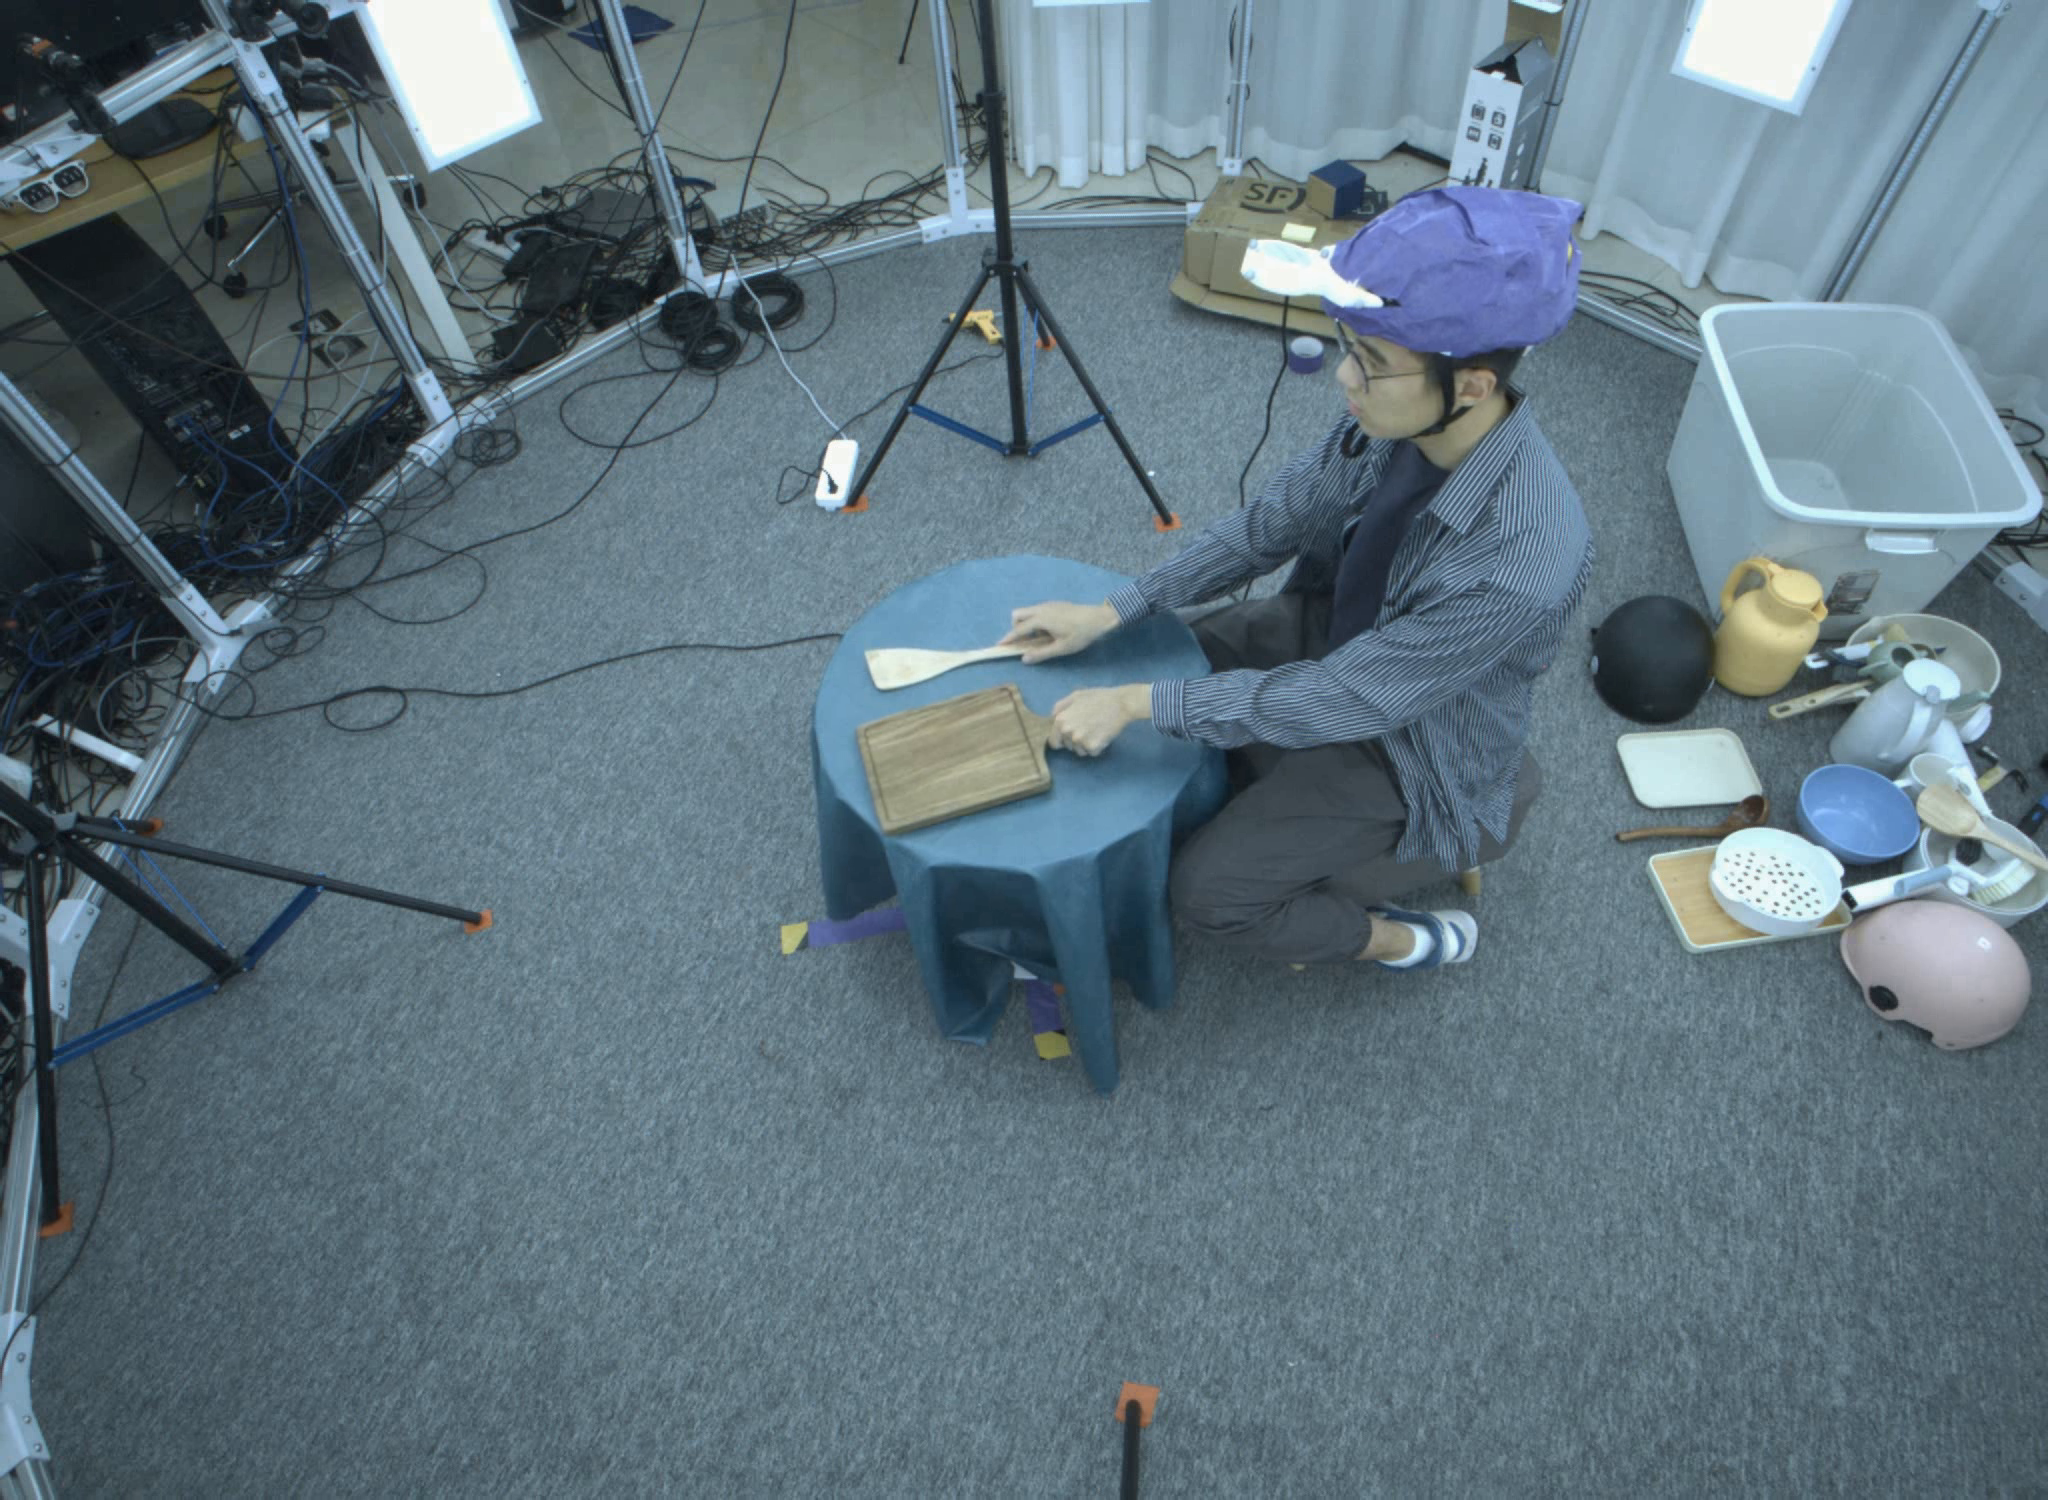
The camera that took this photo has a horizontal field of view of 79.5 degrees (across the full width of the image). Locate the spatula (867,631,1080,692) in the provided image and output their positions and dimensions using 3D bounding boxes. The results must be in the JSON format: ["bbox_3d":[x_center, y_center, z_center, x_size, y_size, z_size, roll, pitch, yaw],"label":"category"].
[{"bbox_3d":[-0.076,-0.146,1.884,0.328,0.017,0.079,-11,57,-2],"label":"spatula"}]

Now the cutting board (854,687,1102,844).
[{"bbox_3d":[-0.056,0.005,1.771,0.354,0.023,0.198,-15,56,-7],"label":"cutting board"}]
